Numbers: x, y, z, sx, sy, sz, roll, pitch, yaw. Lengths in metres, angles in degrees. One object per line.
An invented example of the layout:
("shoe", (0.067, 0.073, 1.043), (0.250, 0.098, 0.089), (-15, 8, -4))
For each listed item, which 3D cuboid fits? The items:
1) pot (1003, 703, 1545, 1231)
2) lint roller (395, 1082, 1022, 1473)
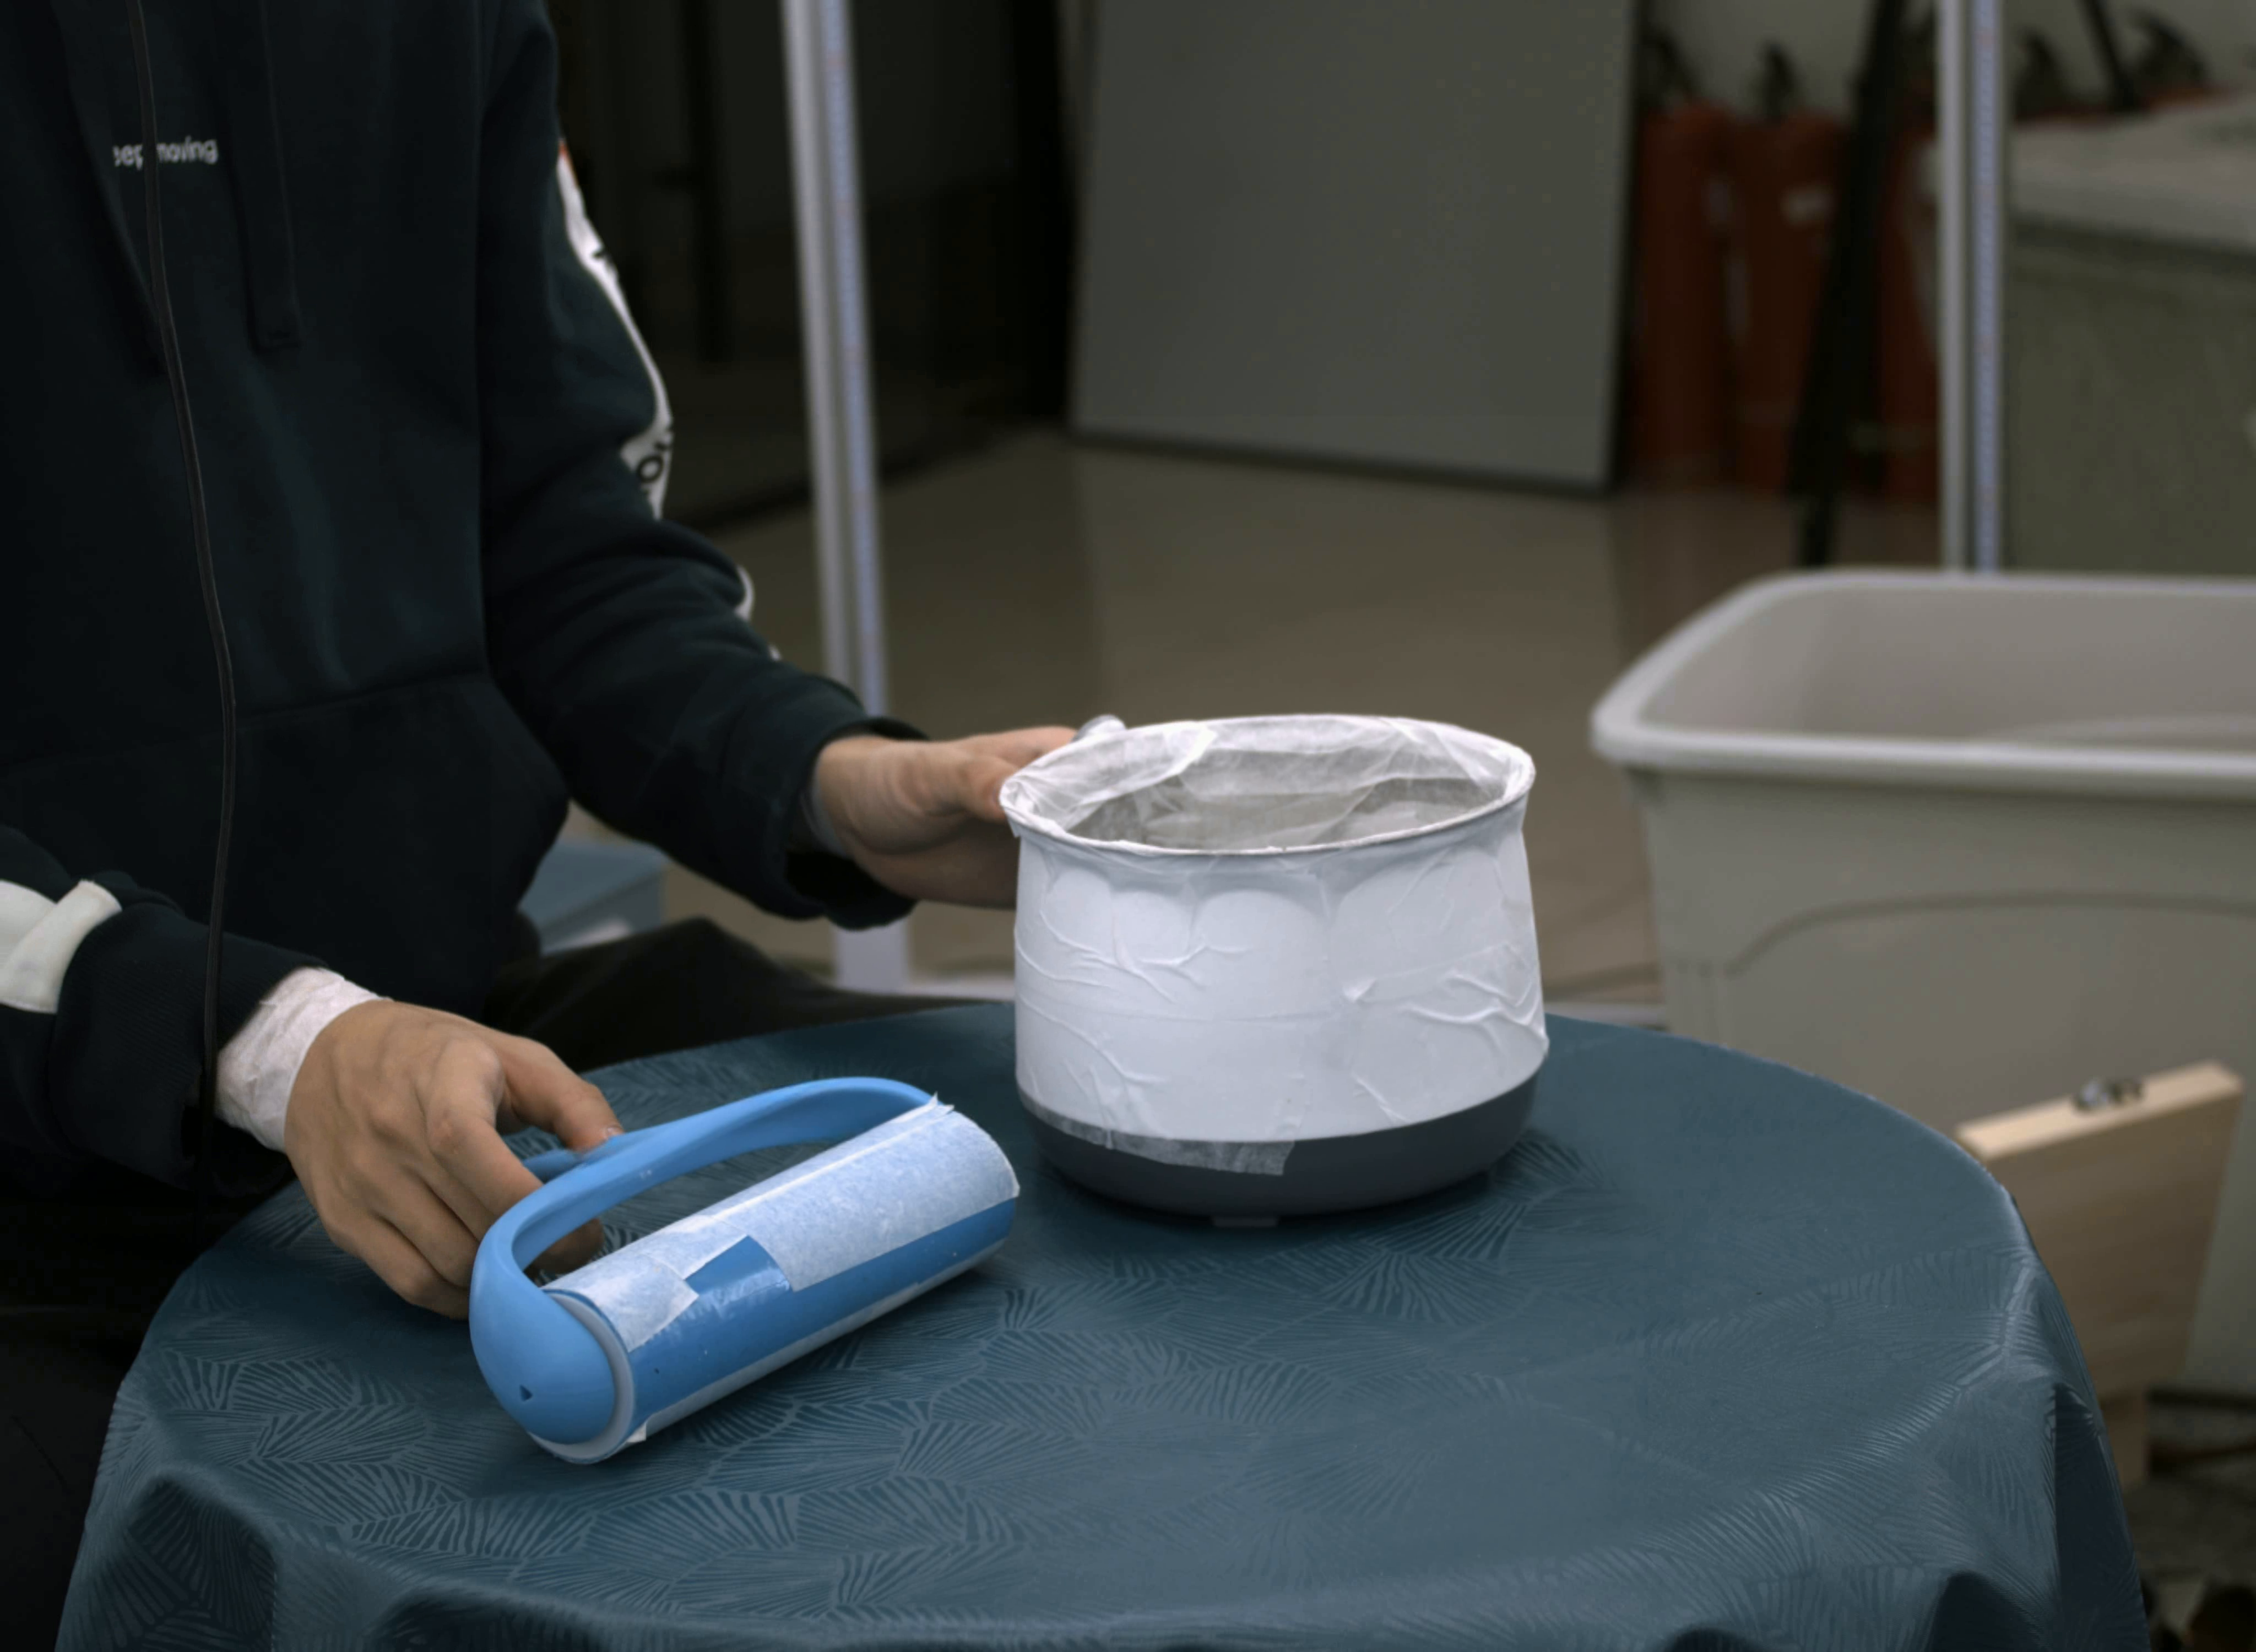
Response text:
("pot", (0.034, 0.039, 1.796), (0.175, 0.138, 0.236), (-12, 17, -31))
("lint roller", (-0.156, 0.131, 1.659), (0.181, 0.068, 0.225), (5, 18, 30))
